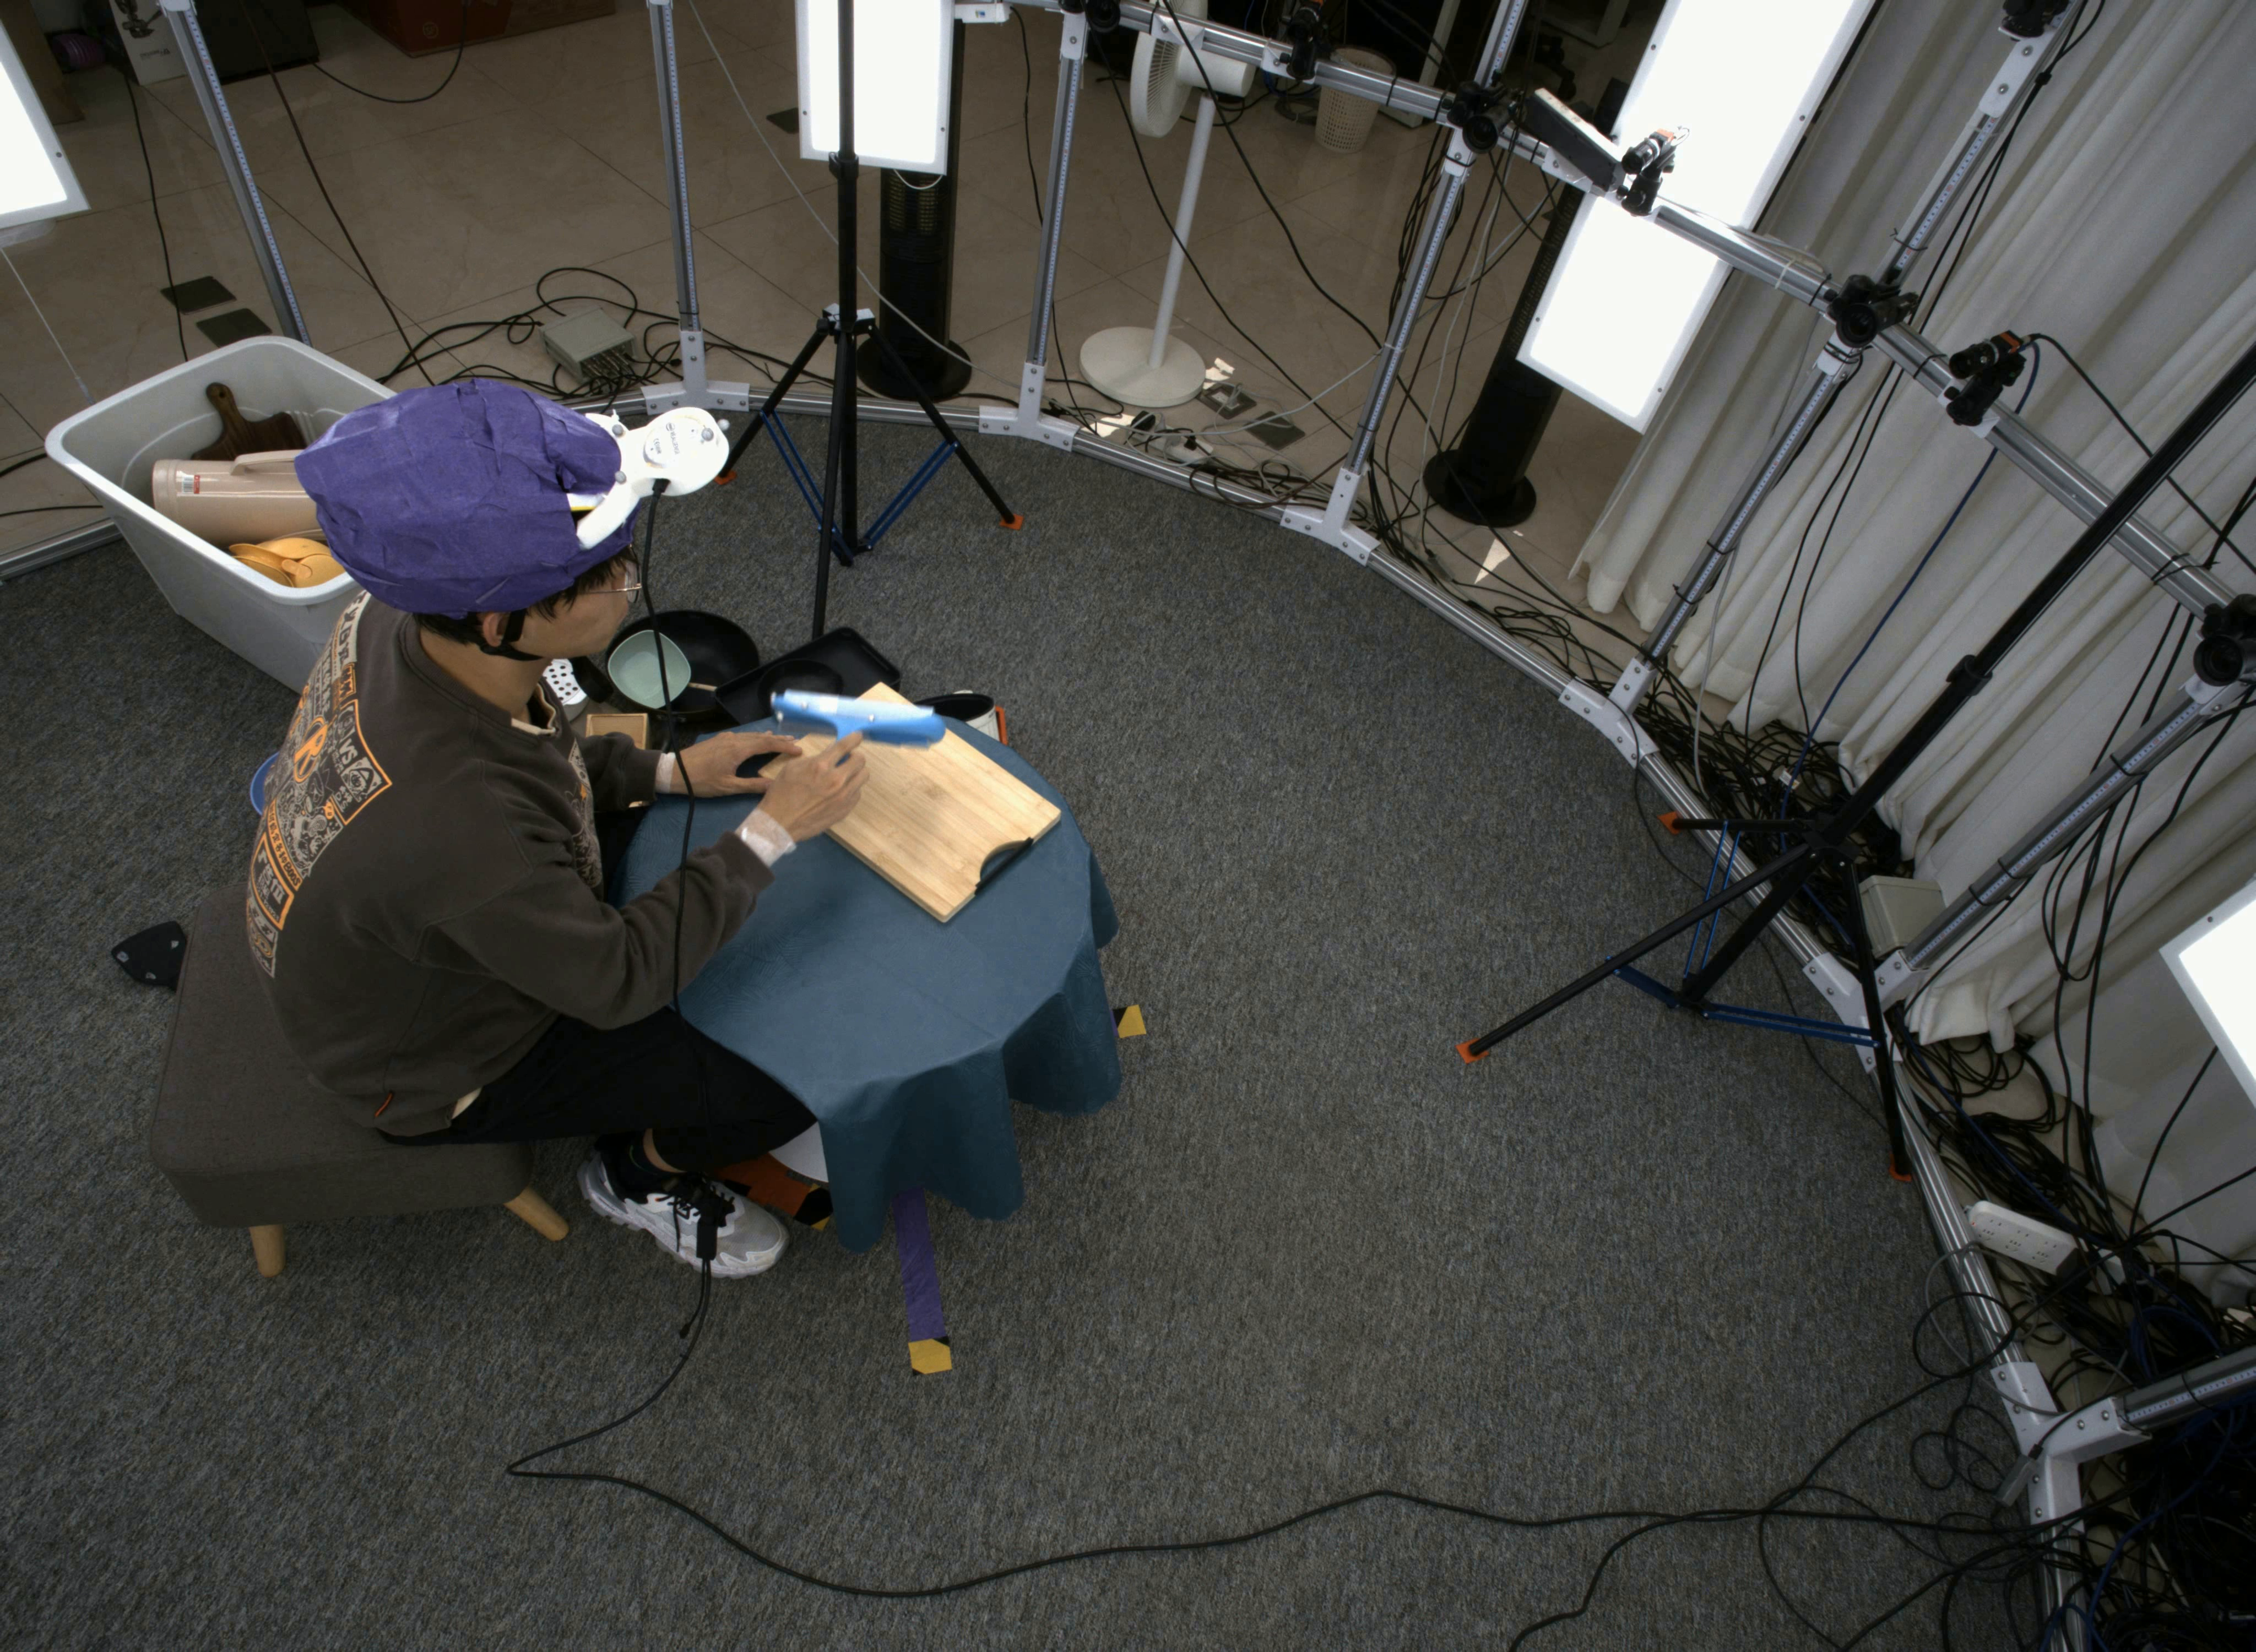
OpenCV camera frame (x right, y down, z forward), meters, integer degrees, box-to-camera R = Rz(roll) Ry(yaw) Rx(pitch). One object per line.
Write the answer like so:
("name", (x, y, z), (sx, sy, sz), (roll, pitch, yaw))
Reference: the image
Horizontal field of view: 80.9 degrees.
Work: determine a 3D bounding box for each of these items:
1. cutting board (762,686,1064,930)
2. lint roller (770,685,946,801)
("cutting board", (-0.293, -0.037, 1.787), (0.342, 0.024, 0.250), (35, 55, 13))
("lint roller", (-0.353, -0.111, 1.643), (0.228, 0.070, 0.176), (7, 37, -6))
